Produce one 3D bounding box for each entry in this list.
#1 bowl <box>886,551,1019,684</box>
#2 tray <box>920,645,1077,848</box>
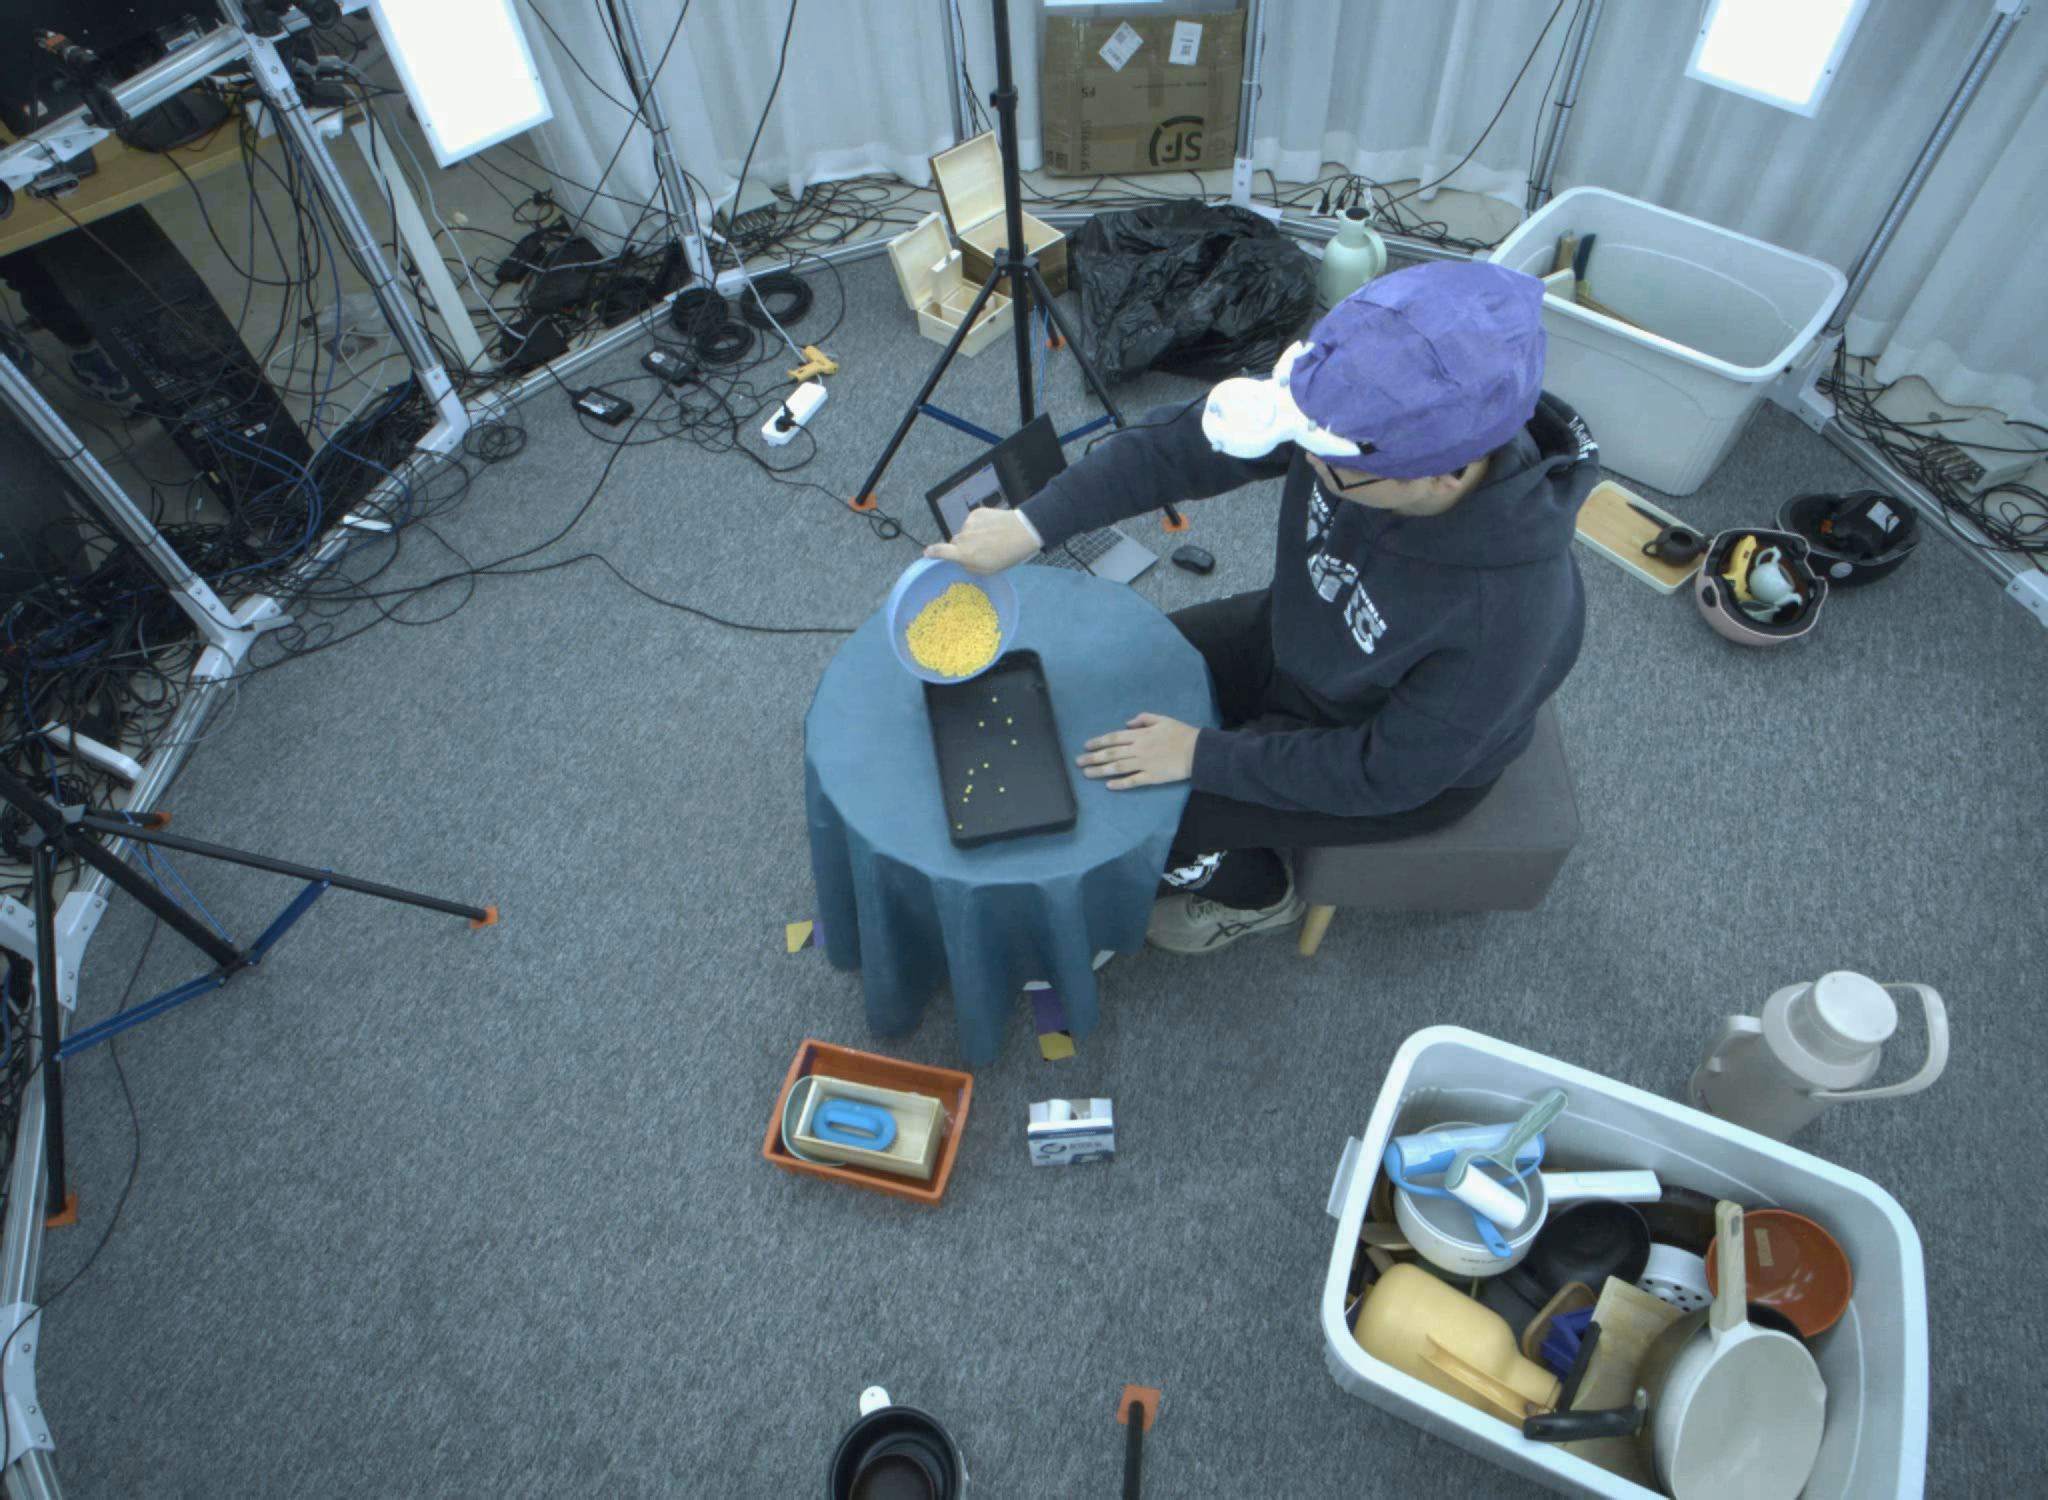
[{"bbox_3d":[-0.115,-0.203,1.755,0.198,0.199,0.093,-23,38,-13],"label":"bowl"},{"bbox_3d":[-0.041,-0.011,1.773,0.185,0.037,0.313,-9,55,-5],"label":"tray"}]
